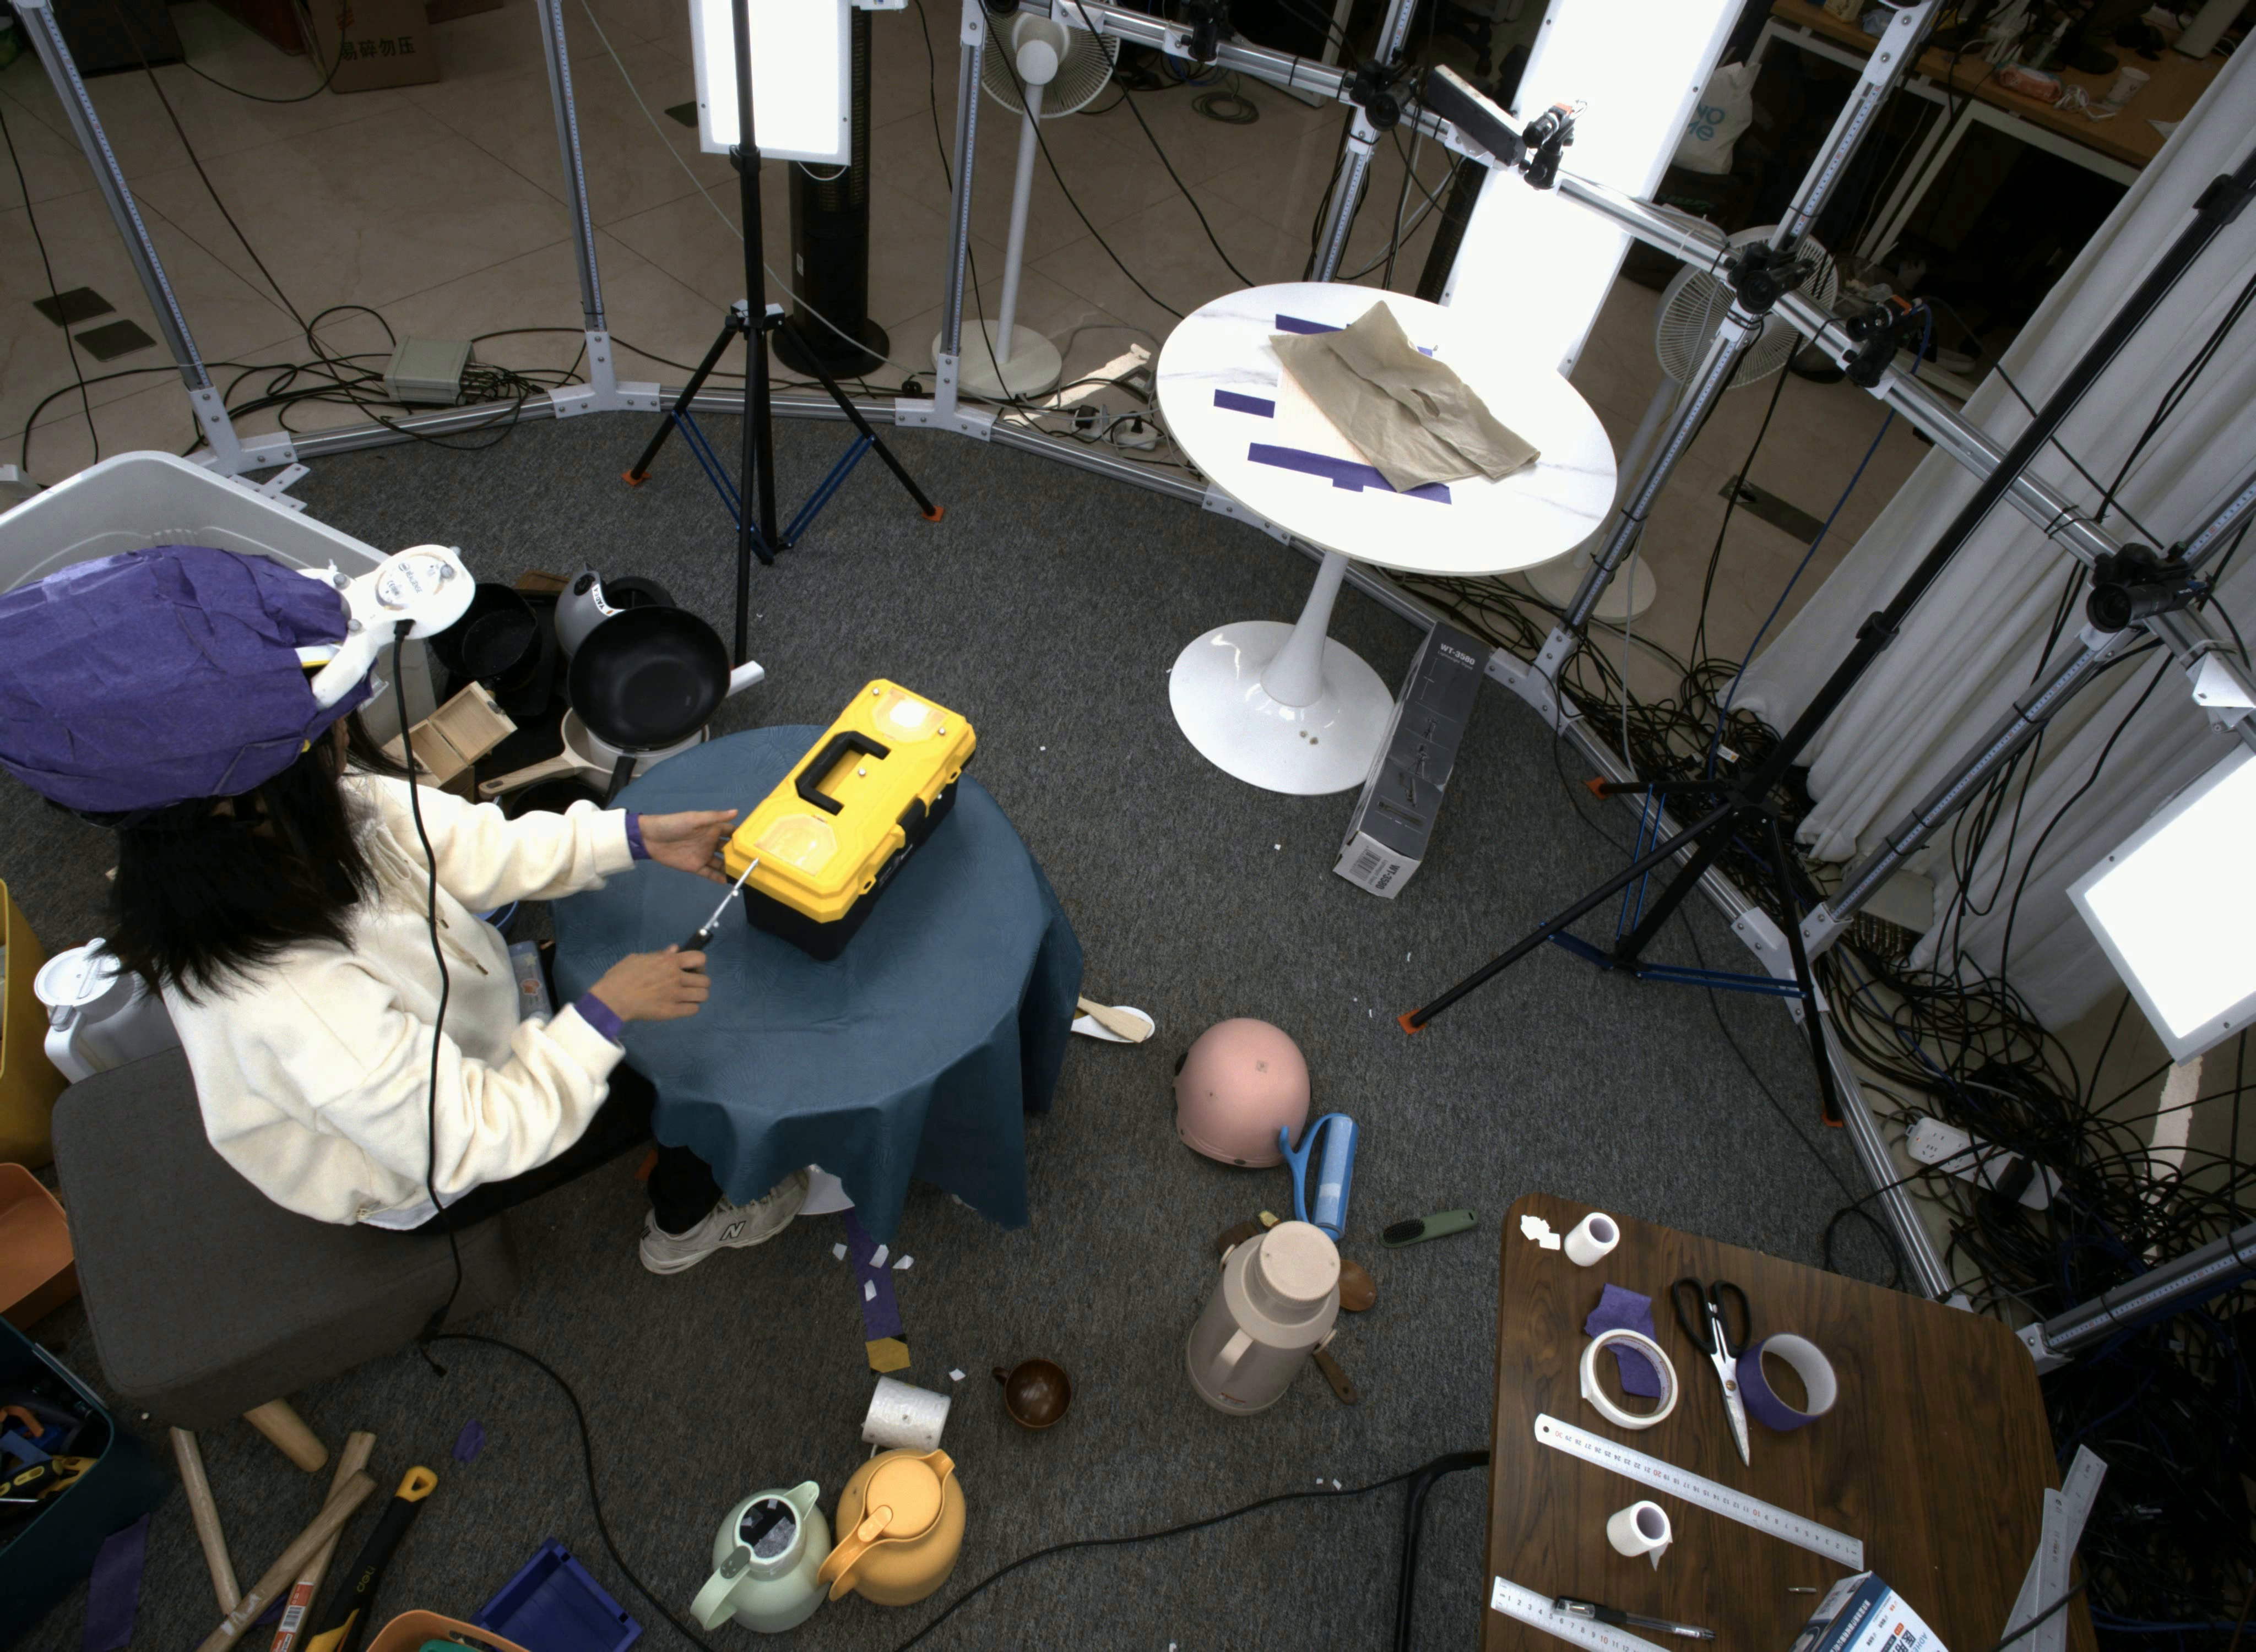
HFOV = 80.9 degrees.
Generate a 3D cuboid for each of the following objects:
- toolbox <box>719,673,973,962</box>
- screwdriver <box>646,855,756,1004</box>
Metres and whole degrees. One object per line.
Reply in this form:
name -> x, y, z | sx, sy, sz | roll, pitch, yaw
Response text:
toolbox -> -0.347, -0.012, 1.636 | 0.178, 0.176, 0.349 | 26, 52, 8
screwdriver -> -0.472, 0.112, 1.442 | 0.031, 0.032, 0.196 | 31, 72, 12
